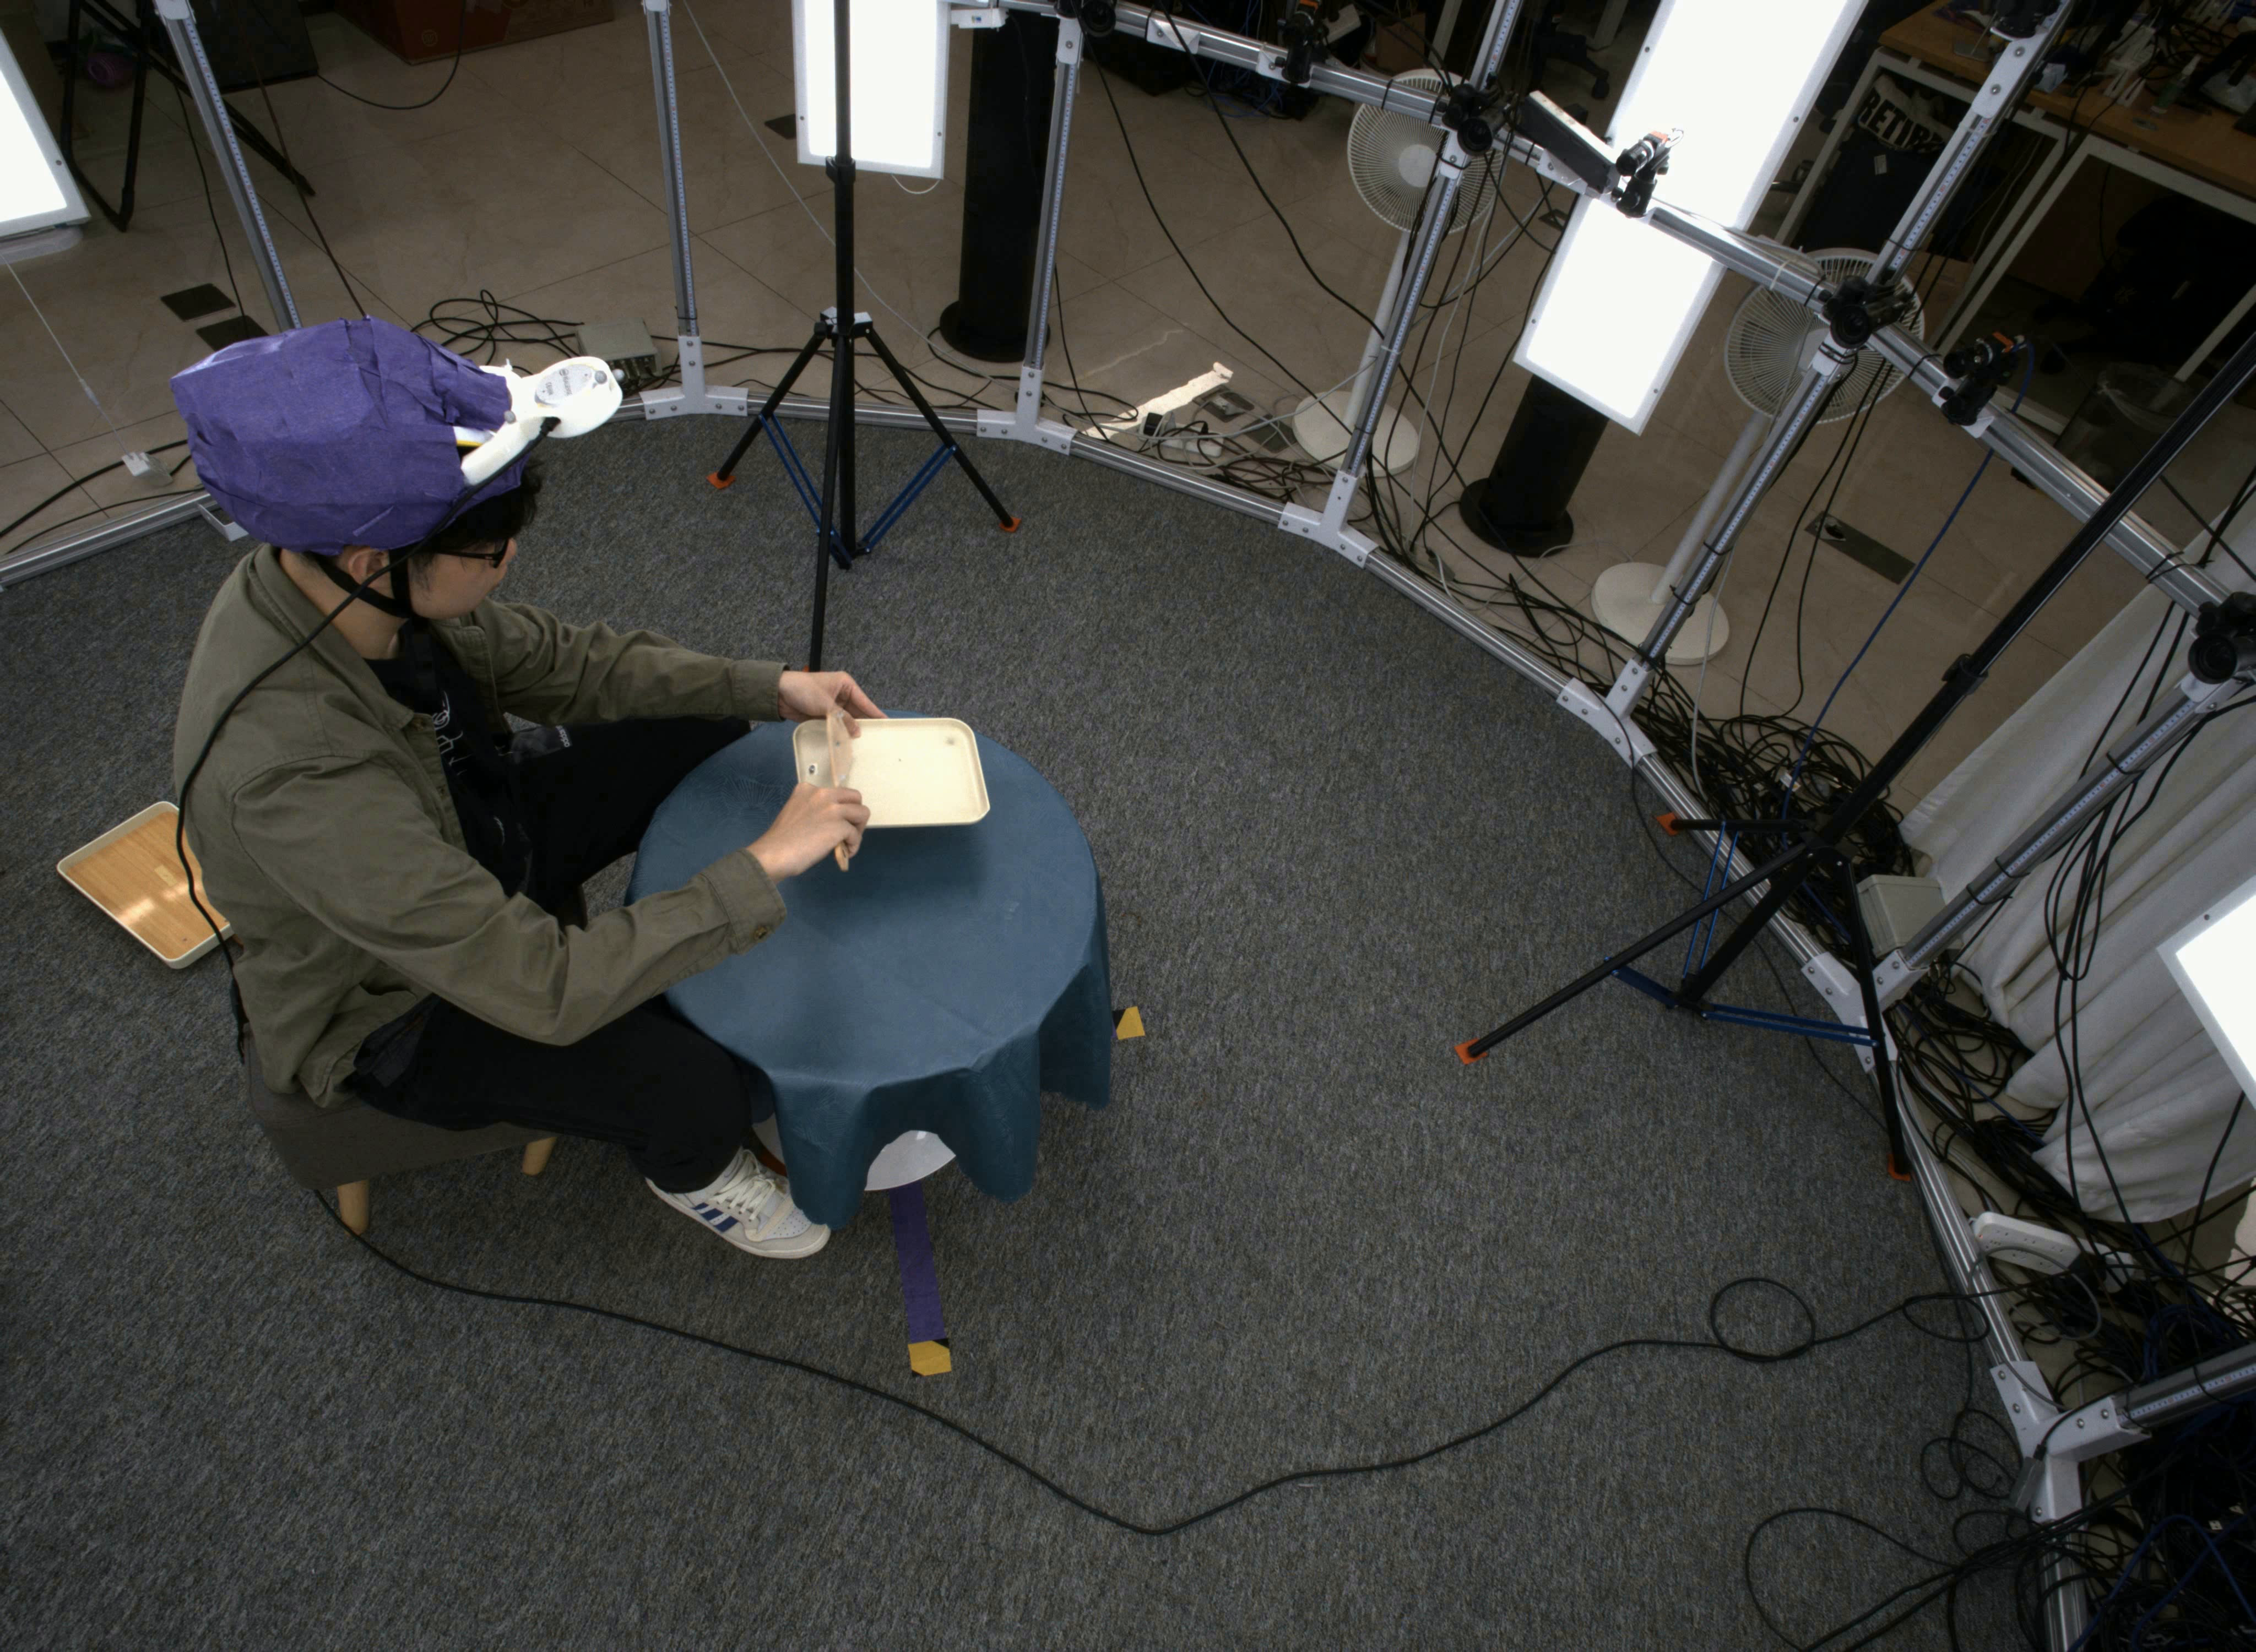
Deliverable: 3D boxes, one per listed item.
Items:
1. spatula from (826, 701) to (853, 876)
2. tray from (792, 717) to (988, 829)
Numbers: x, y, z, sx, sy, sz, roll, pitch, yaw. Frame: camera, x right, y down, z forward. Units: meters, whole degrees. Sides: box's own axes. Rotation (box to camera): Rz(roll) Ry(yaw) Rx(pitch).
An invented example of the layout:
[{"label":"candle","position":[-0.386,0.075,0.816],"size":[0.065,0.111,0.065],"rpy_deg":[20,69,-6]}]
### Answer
[{"label":"spatula","position":[-0.337,-0.044,1.520],"size":[0.016,0.083,0.318],"rpy_deg":[-17,37,-2]},{"label":"tray","position":[-0.307,-0.069,1.679],"size":[0.241,0.018,0.168],"rpy_deg":[-2,57,-23]}]
